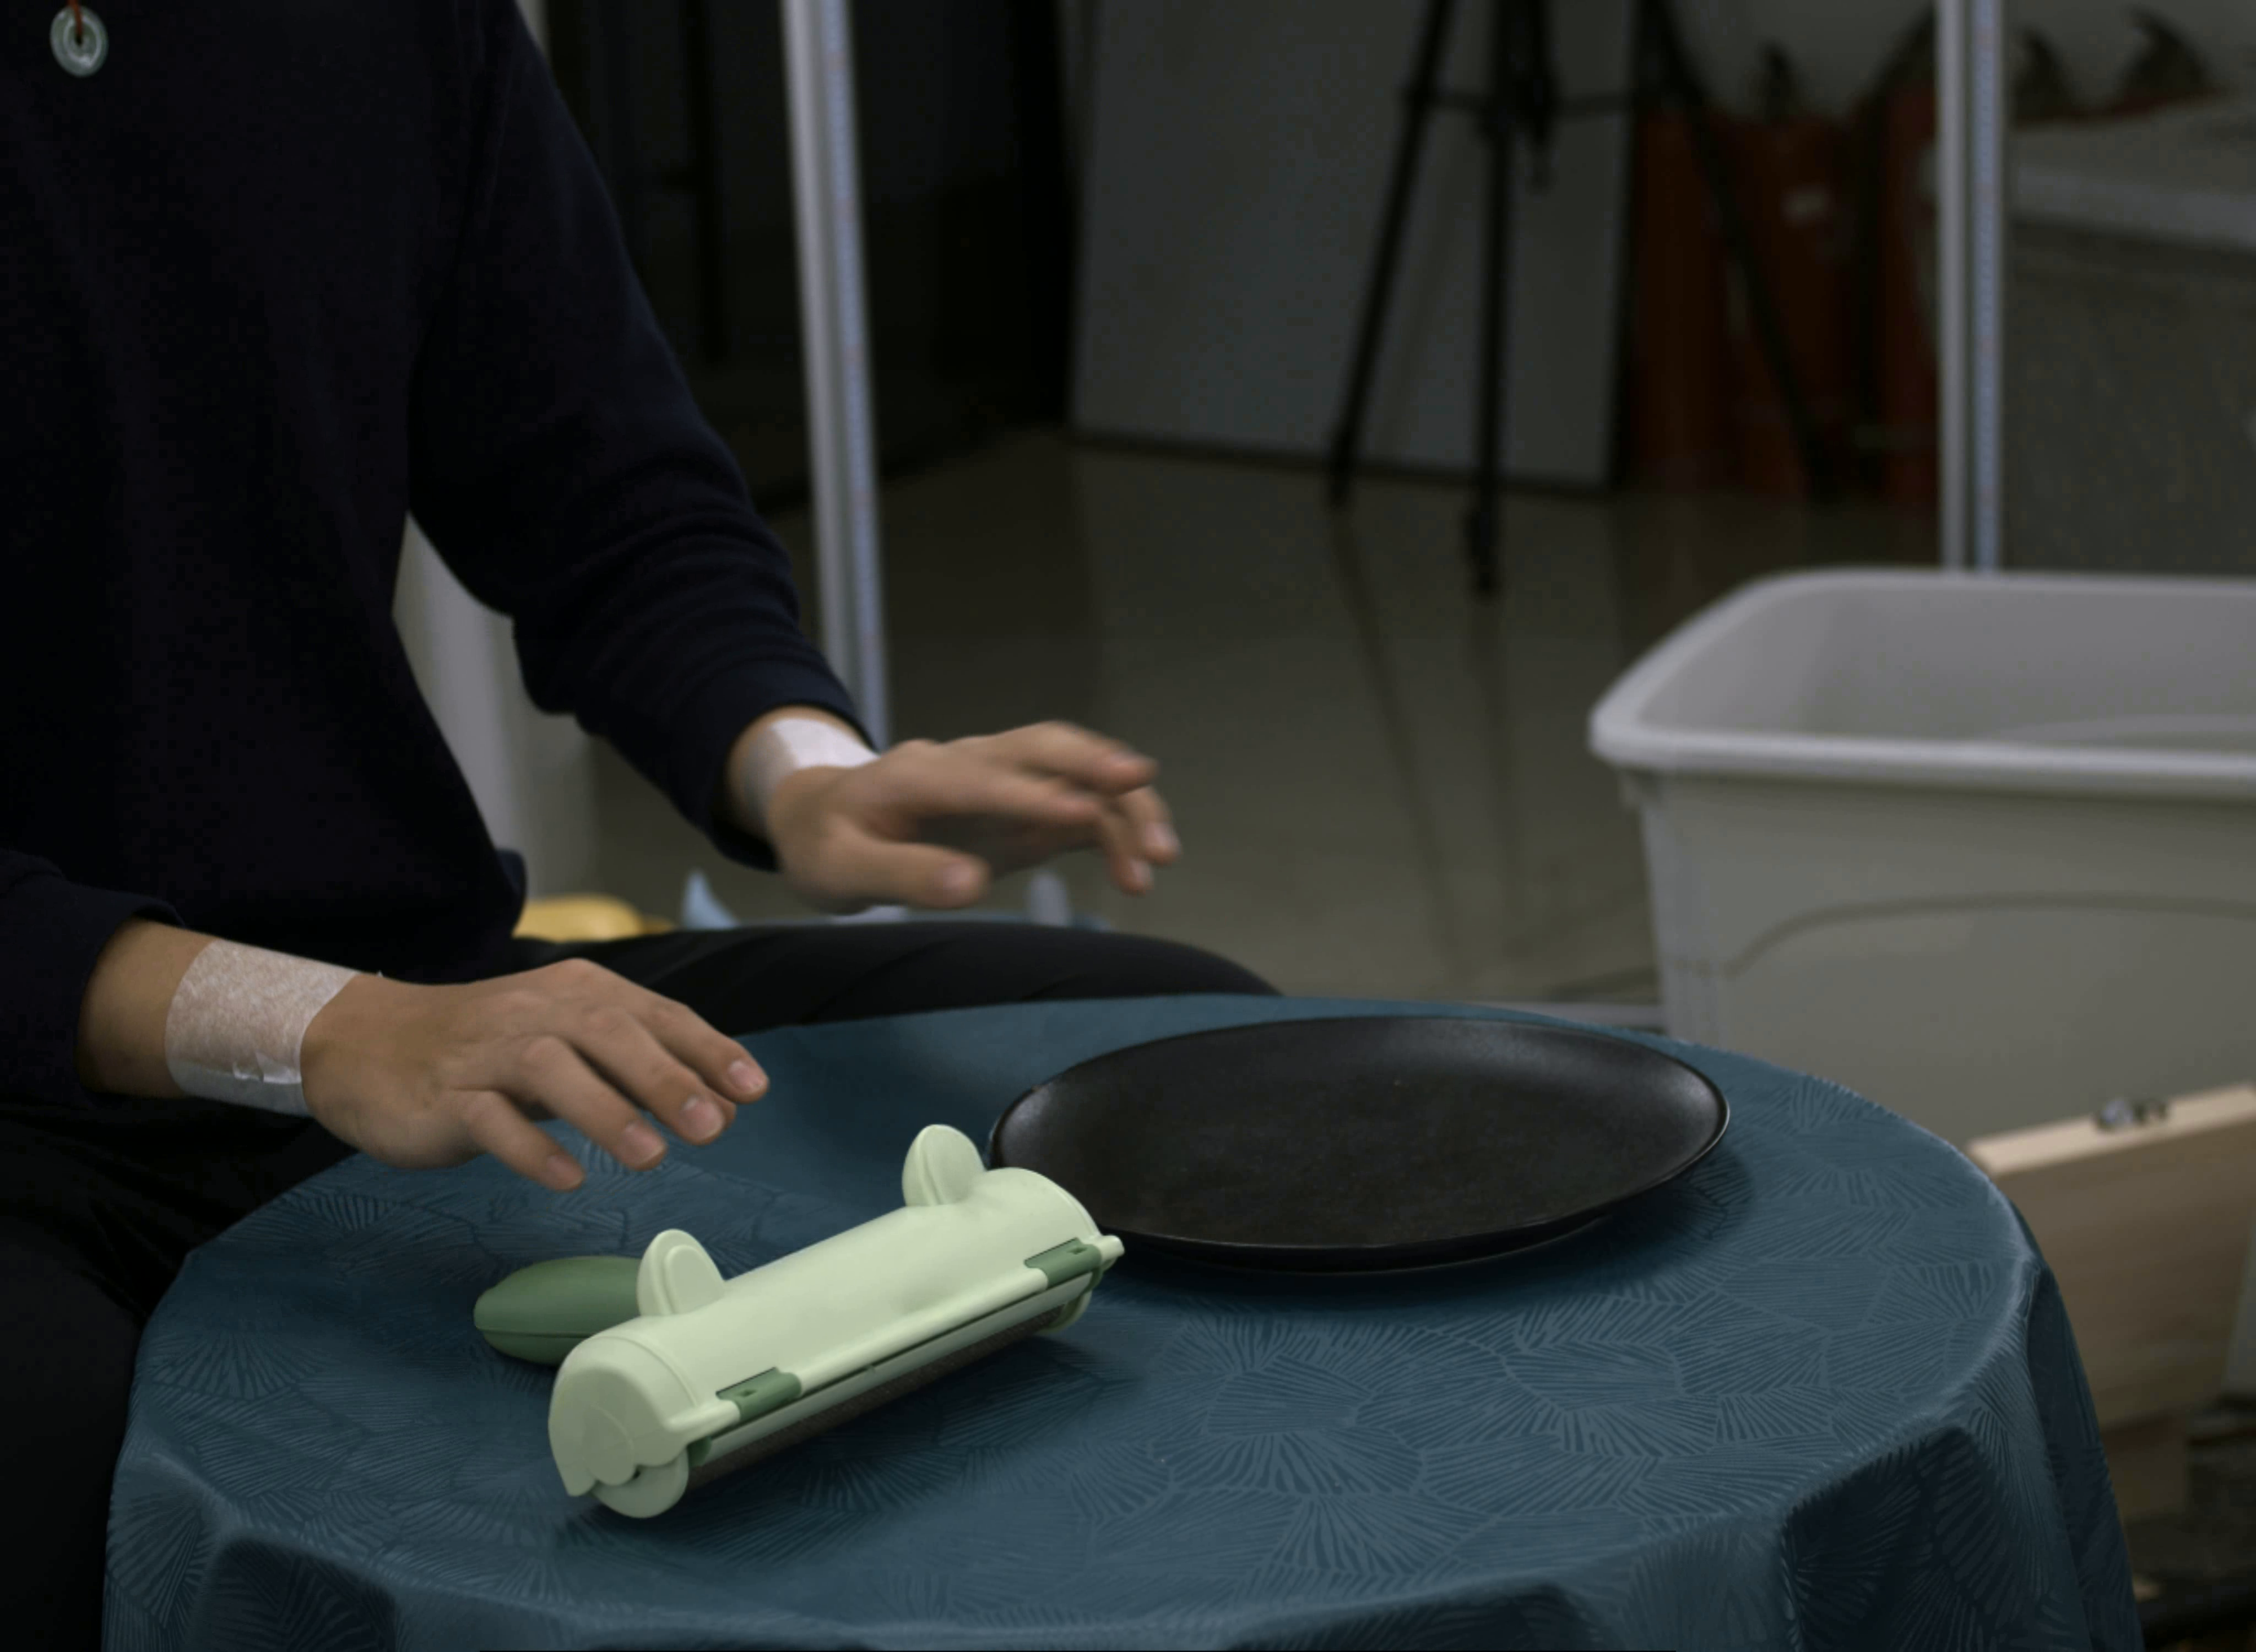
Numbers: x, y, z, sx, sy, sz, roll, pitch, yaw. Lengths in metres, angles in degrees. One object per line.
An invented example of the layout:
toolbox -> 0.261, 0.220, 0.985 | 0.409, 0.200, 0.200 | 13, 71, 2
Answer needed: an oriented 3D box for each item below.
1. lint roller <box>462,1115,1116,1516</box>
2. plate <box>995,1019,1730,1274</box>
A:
lint roller -> -0.129, 0.129, 1.597 | 0.184, 0.083, 0.195 | 15, 21, 36
plate -> 0.077, 0.106, 1.758 | 0.241, 0.024, 0.245 | -4, 14, 0
